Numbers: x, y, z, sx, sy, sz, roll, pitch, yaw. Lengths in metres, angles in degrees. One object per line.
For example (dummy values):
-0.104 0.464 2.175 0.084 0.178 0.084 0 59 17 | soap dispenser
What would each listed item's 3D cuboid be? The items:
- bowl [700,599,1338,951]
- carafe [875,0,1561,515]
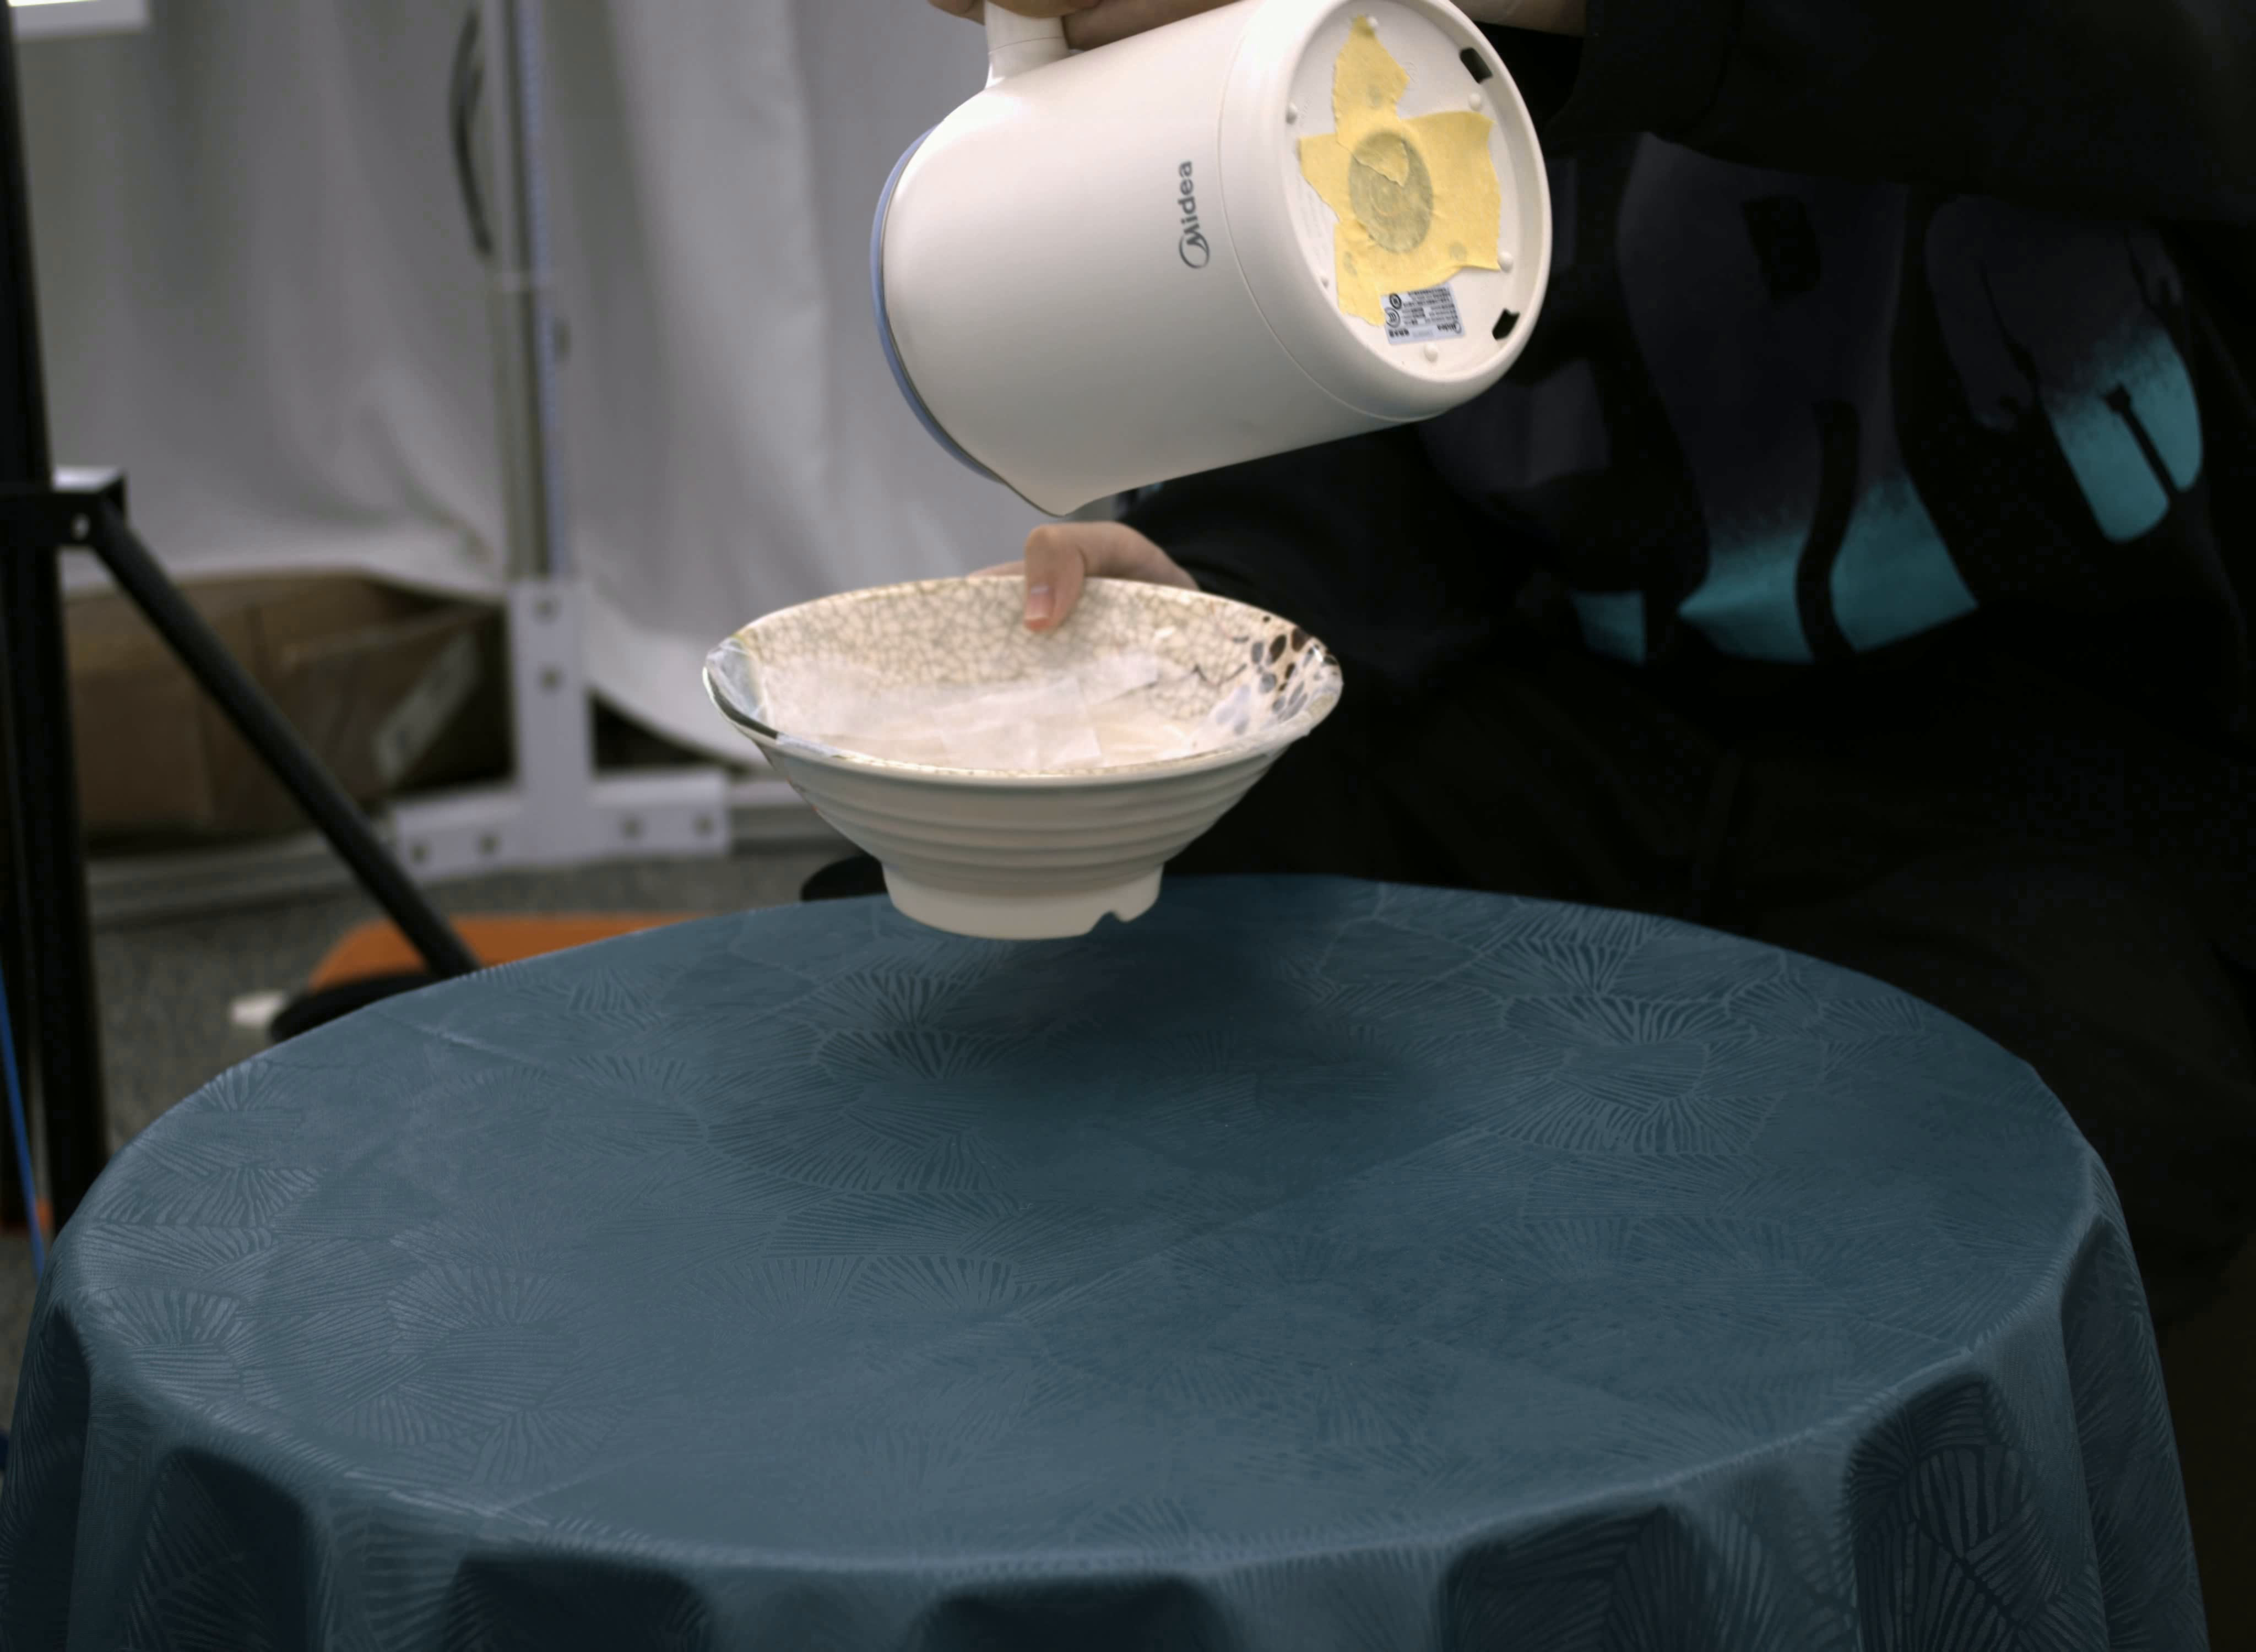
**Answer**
-0.036 -0.010 1.699 0.203 0.078 0.205 2 16 -2 | bowl
0.022 -0.197 1.581 0.186 0.192 0.129 -7 -1 44 | carafe
